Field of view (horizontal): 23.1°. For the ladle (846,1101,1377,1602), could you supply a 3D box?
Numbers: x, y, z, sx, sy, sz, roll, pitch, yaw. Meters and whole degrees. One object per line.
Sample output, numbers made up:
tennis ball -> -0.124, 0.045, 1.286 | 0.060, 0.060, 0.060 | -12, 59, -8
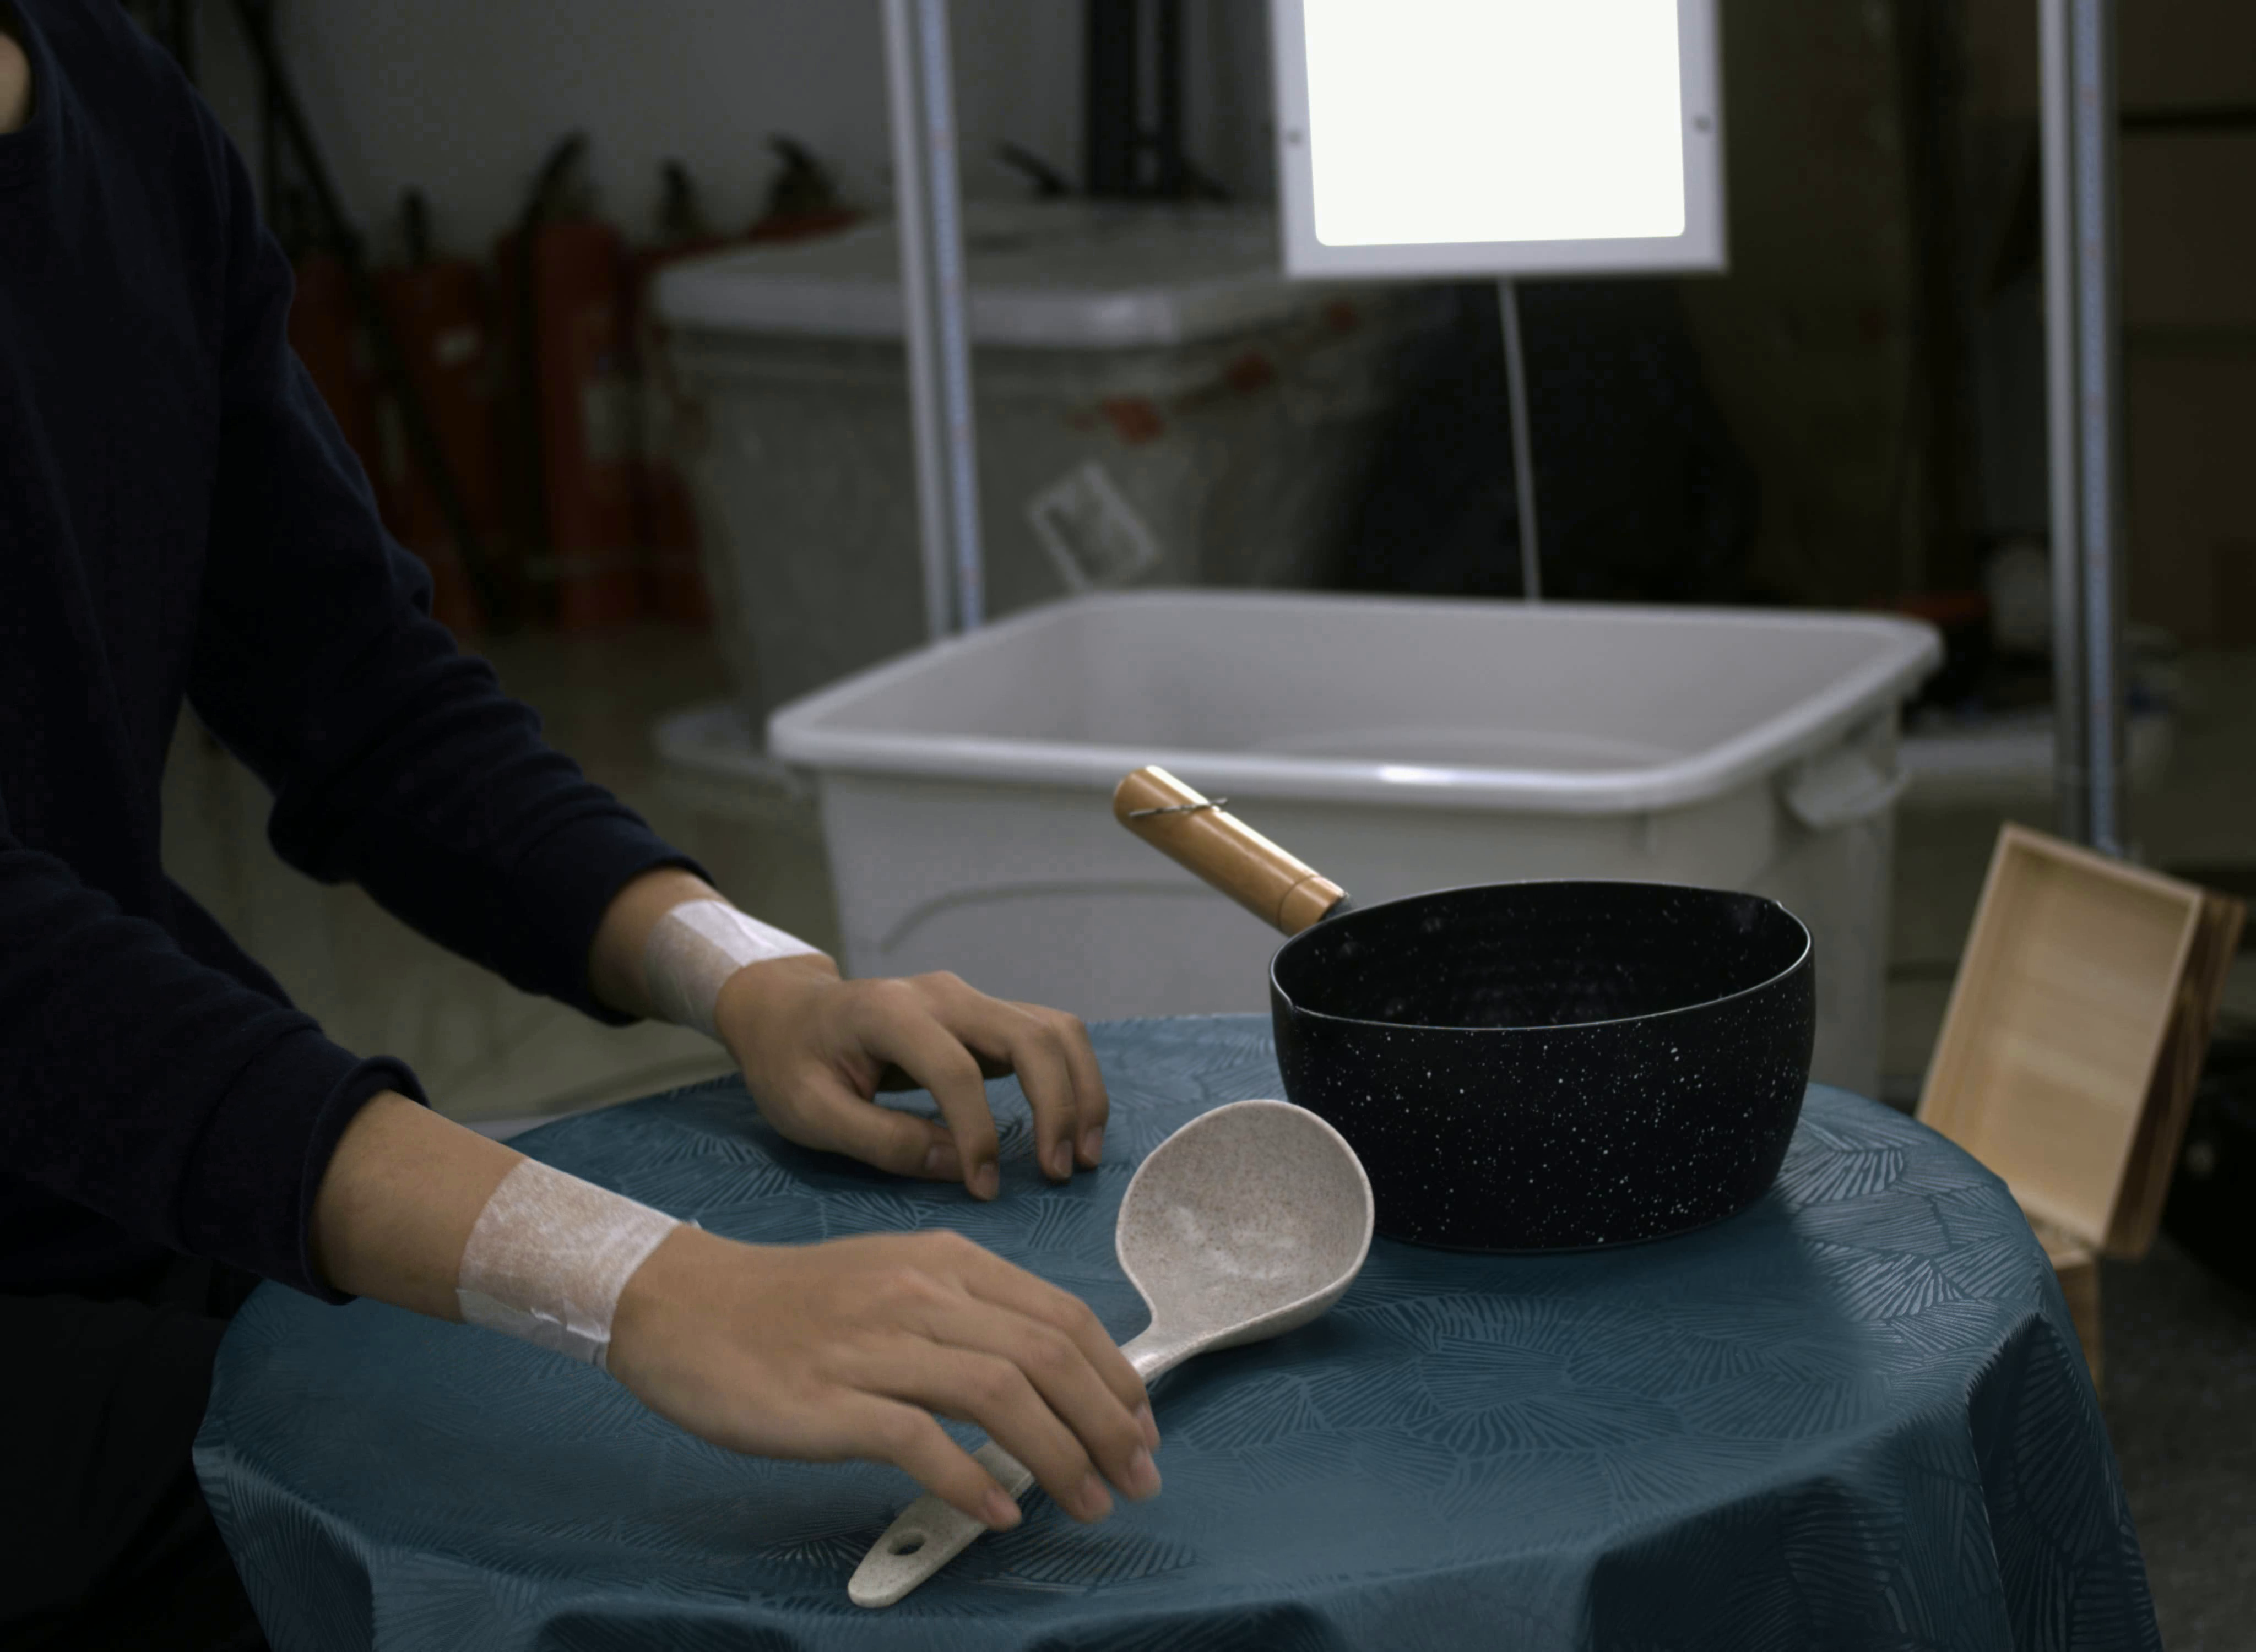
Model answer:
ladle -> -0.012, 0.152, 1.651 | 0.091, 0.070, 0.269 | 9, 18, 27

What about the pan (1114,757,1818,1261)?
pan -> 0.097, 0.057, 1.915 | 0.202, 0.108, 0.349 | -15, 18, -31
